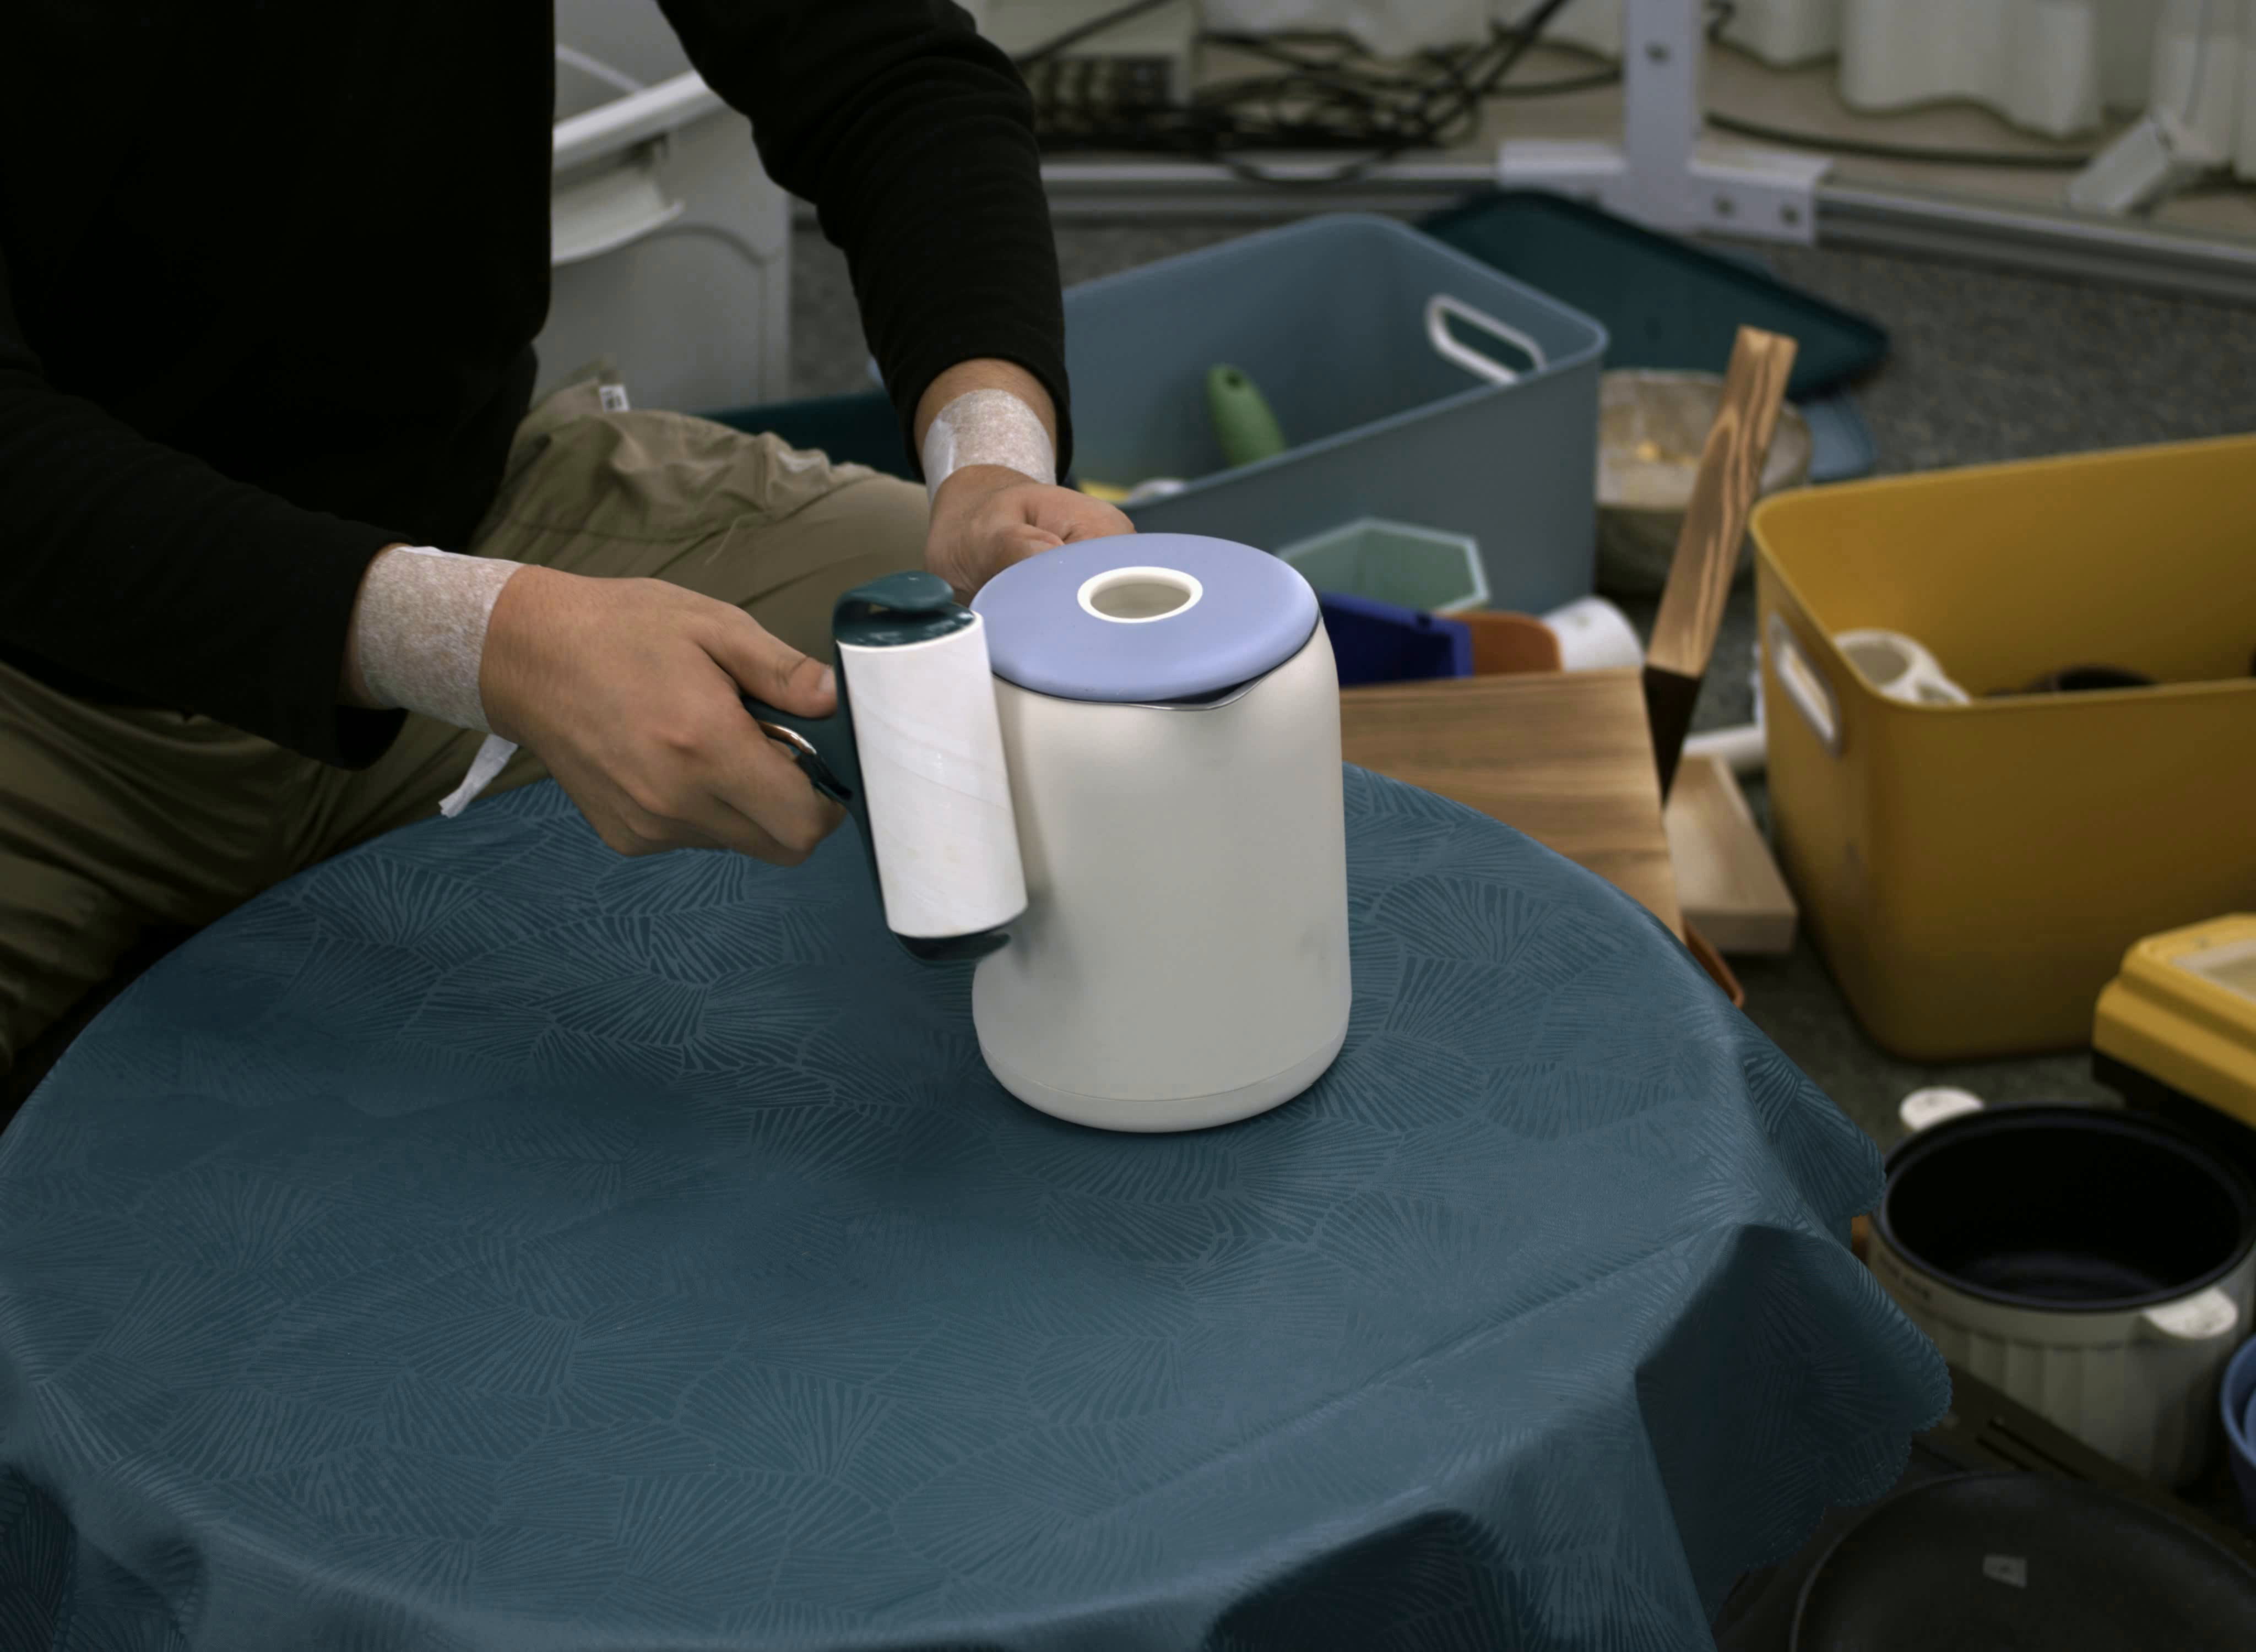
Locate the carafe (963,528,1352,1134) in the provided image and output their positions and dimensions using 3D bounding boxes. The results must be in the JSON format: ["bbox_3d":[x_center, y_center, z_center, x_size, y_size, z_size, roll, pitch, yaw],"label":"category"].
[{"bbox_3d":[-0.001,-0.009,1.929,0.132,0.181,0.192,-12,26,-19],"label":"carafe"}]

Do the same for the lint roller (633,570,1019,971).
[{"bbox_3d":[-0.116,-0.022,1.882,0.178,0.134,0.049,4,19,40],"label":"lint roller"}]
